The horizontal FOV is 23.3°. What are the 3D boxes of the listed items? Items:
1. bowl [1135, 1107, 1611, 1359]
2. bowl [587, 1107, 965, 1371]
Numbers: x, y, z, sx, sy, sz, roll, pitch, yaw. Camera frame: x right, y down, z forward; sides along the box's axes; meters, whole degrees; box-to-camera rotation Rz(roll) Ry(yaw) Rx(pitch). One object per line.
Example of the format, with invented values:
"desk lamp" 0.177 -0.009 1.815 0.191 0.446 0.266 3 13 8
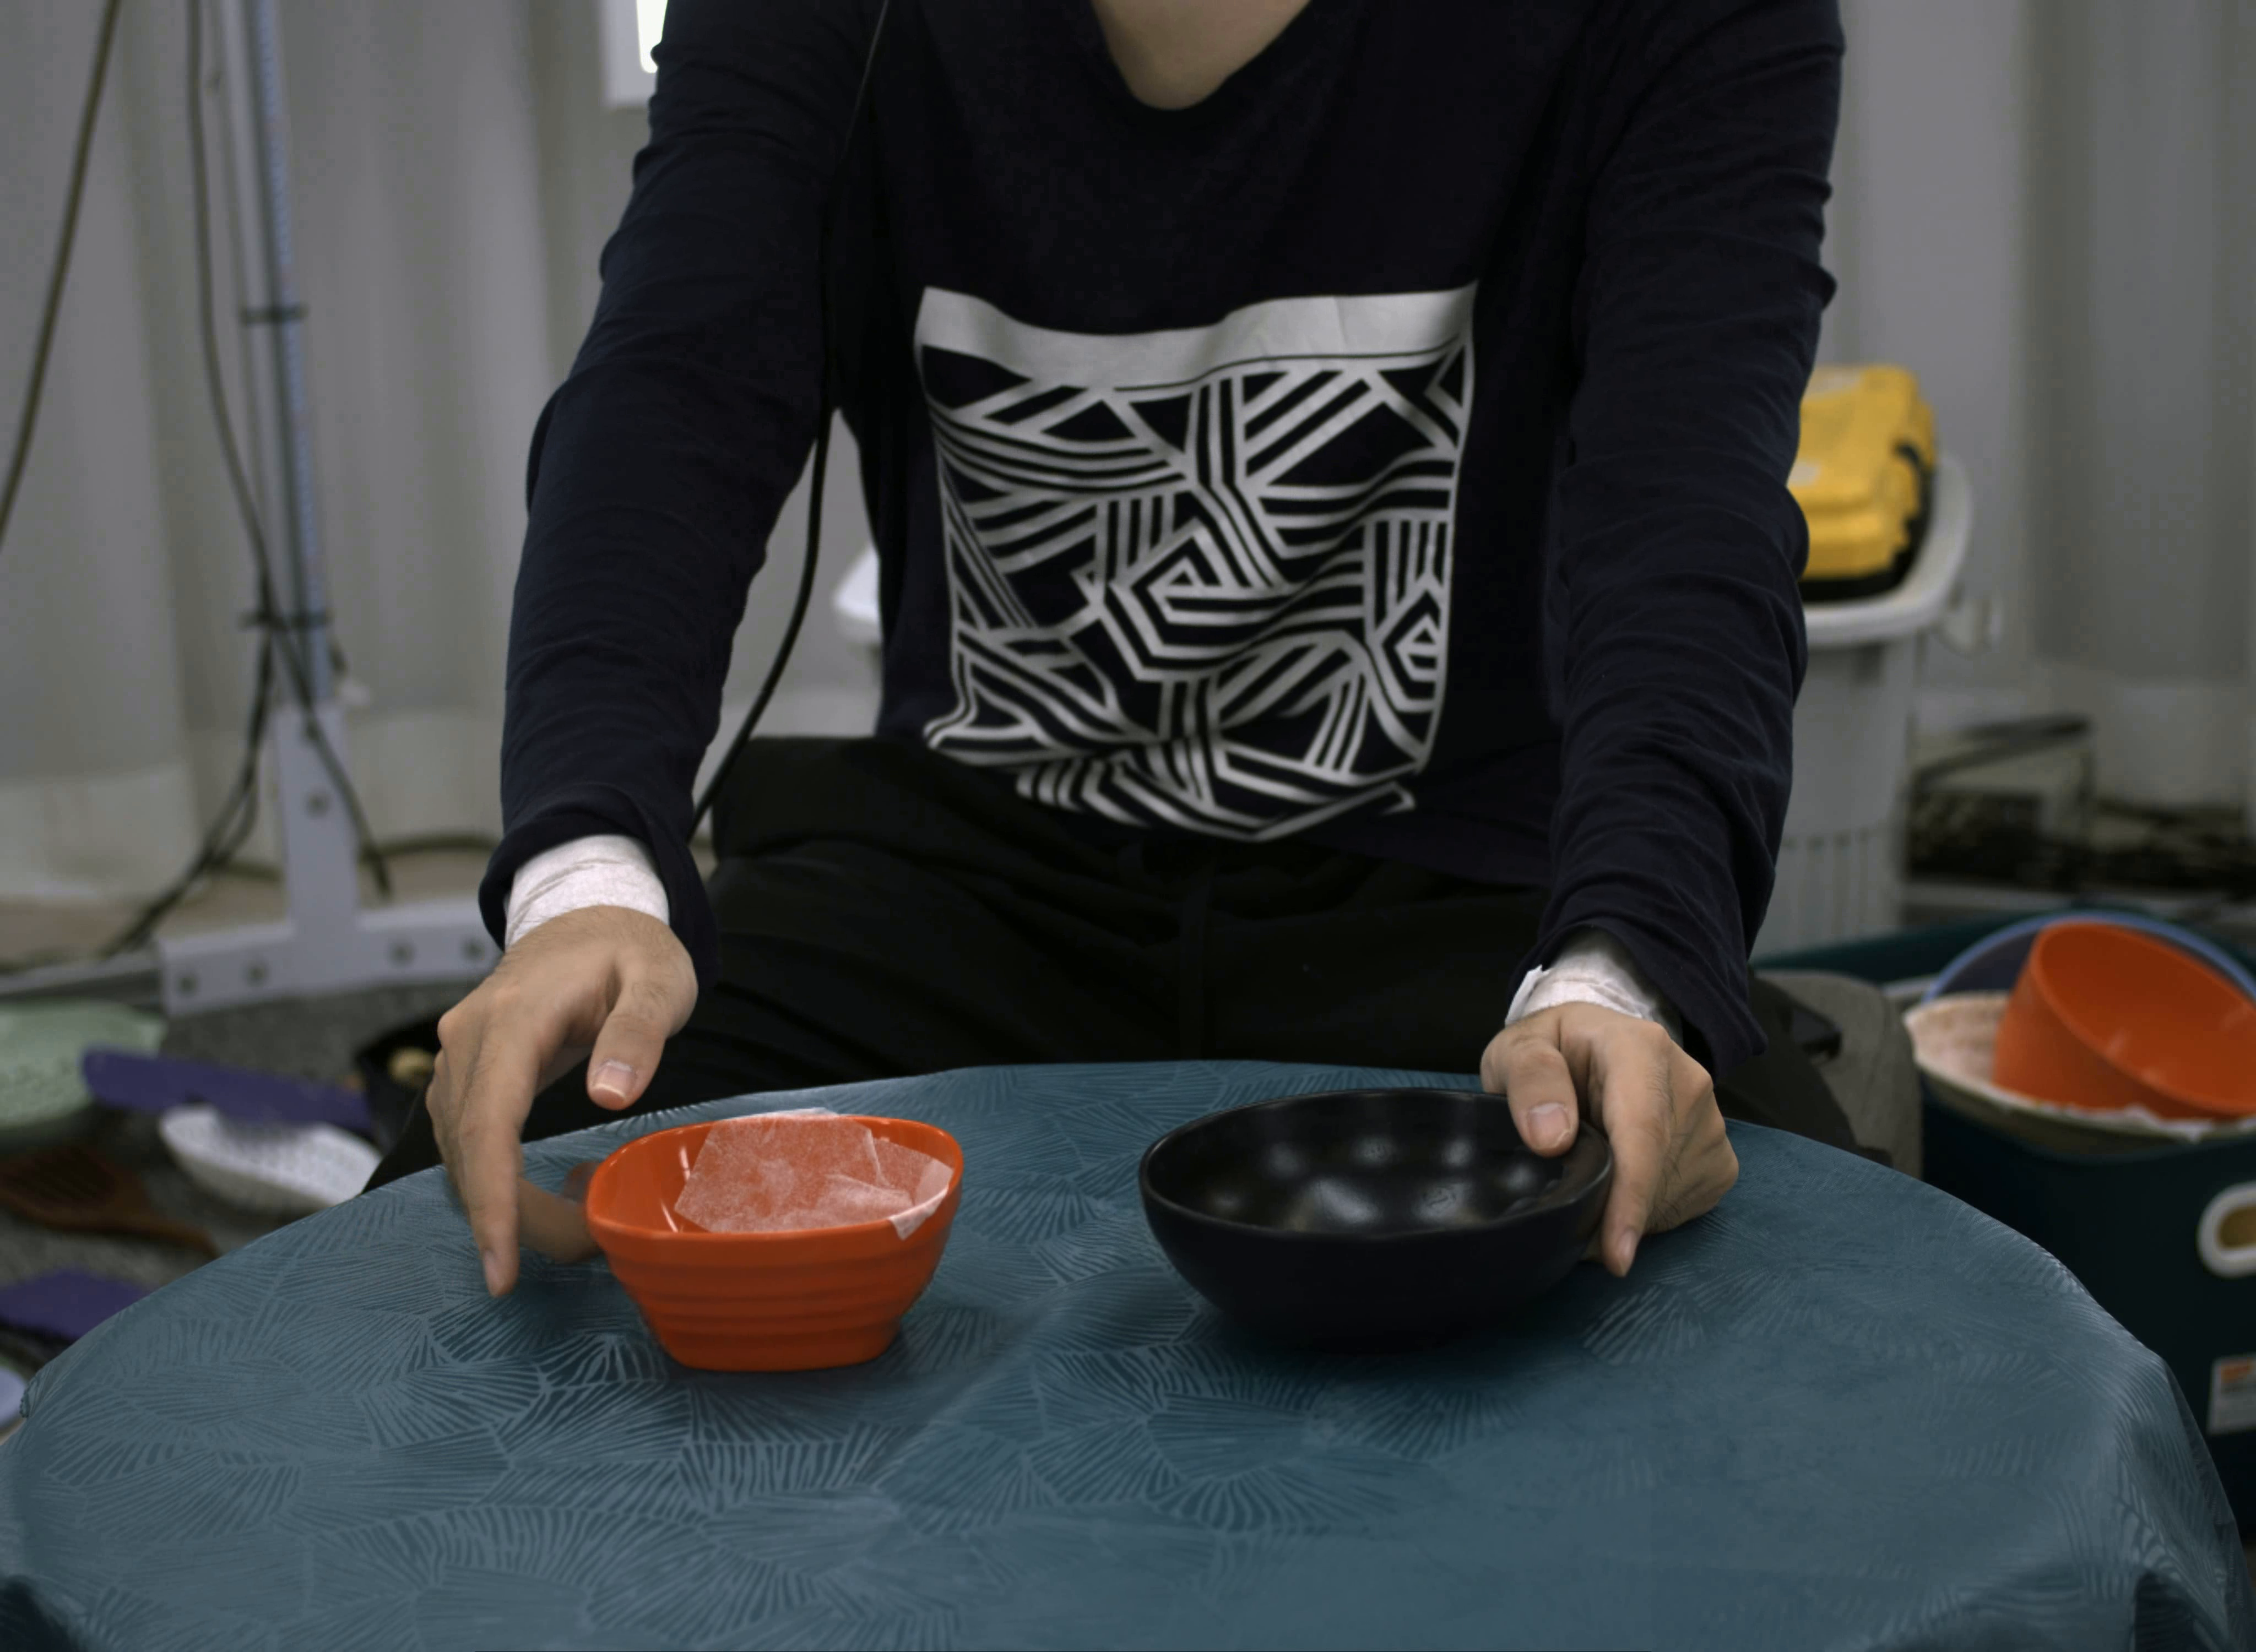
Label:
"bowl" 0.072 0.122 1.590 0.139 0.049 0.140 -2 10 0
"bowl" -0.101 0.124 1.601 0.118 0.051 0.120 -4 16 1
